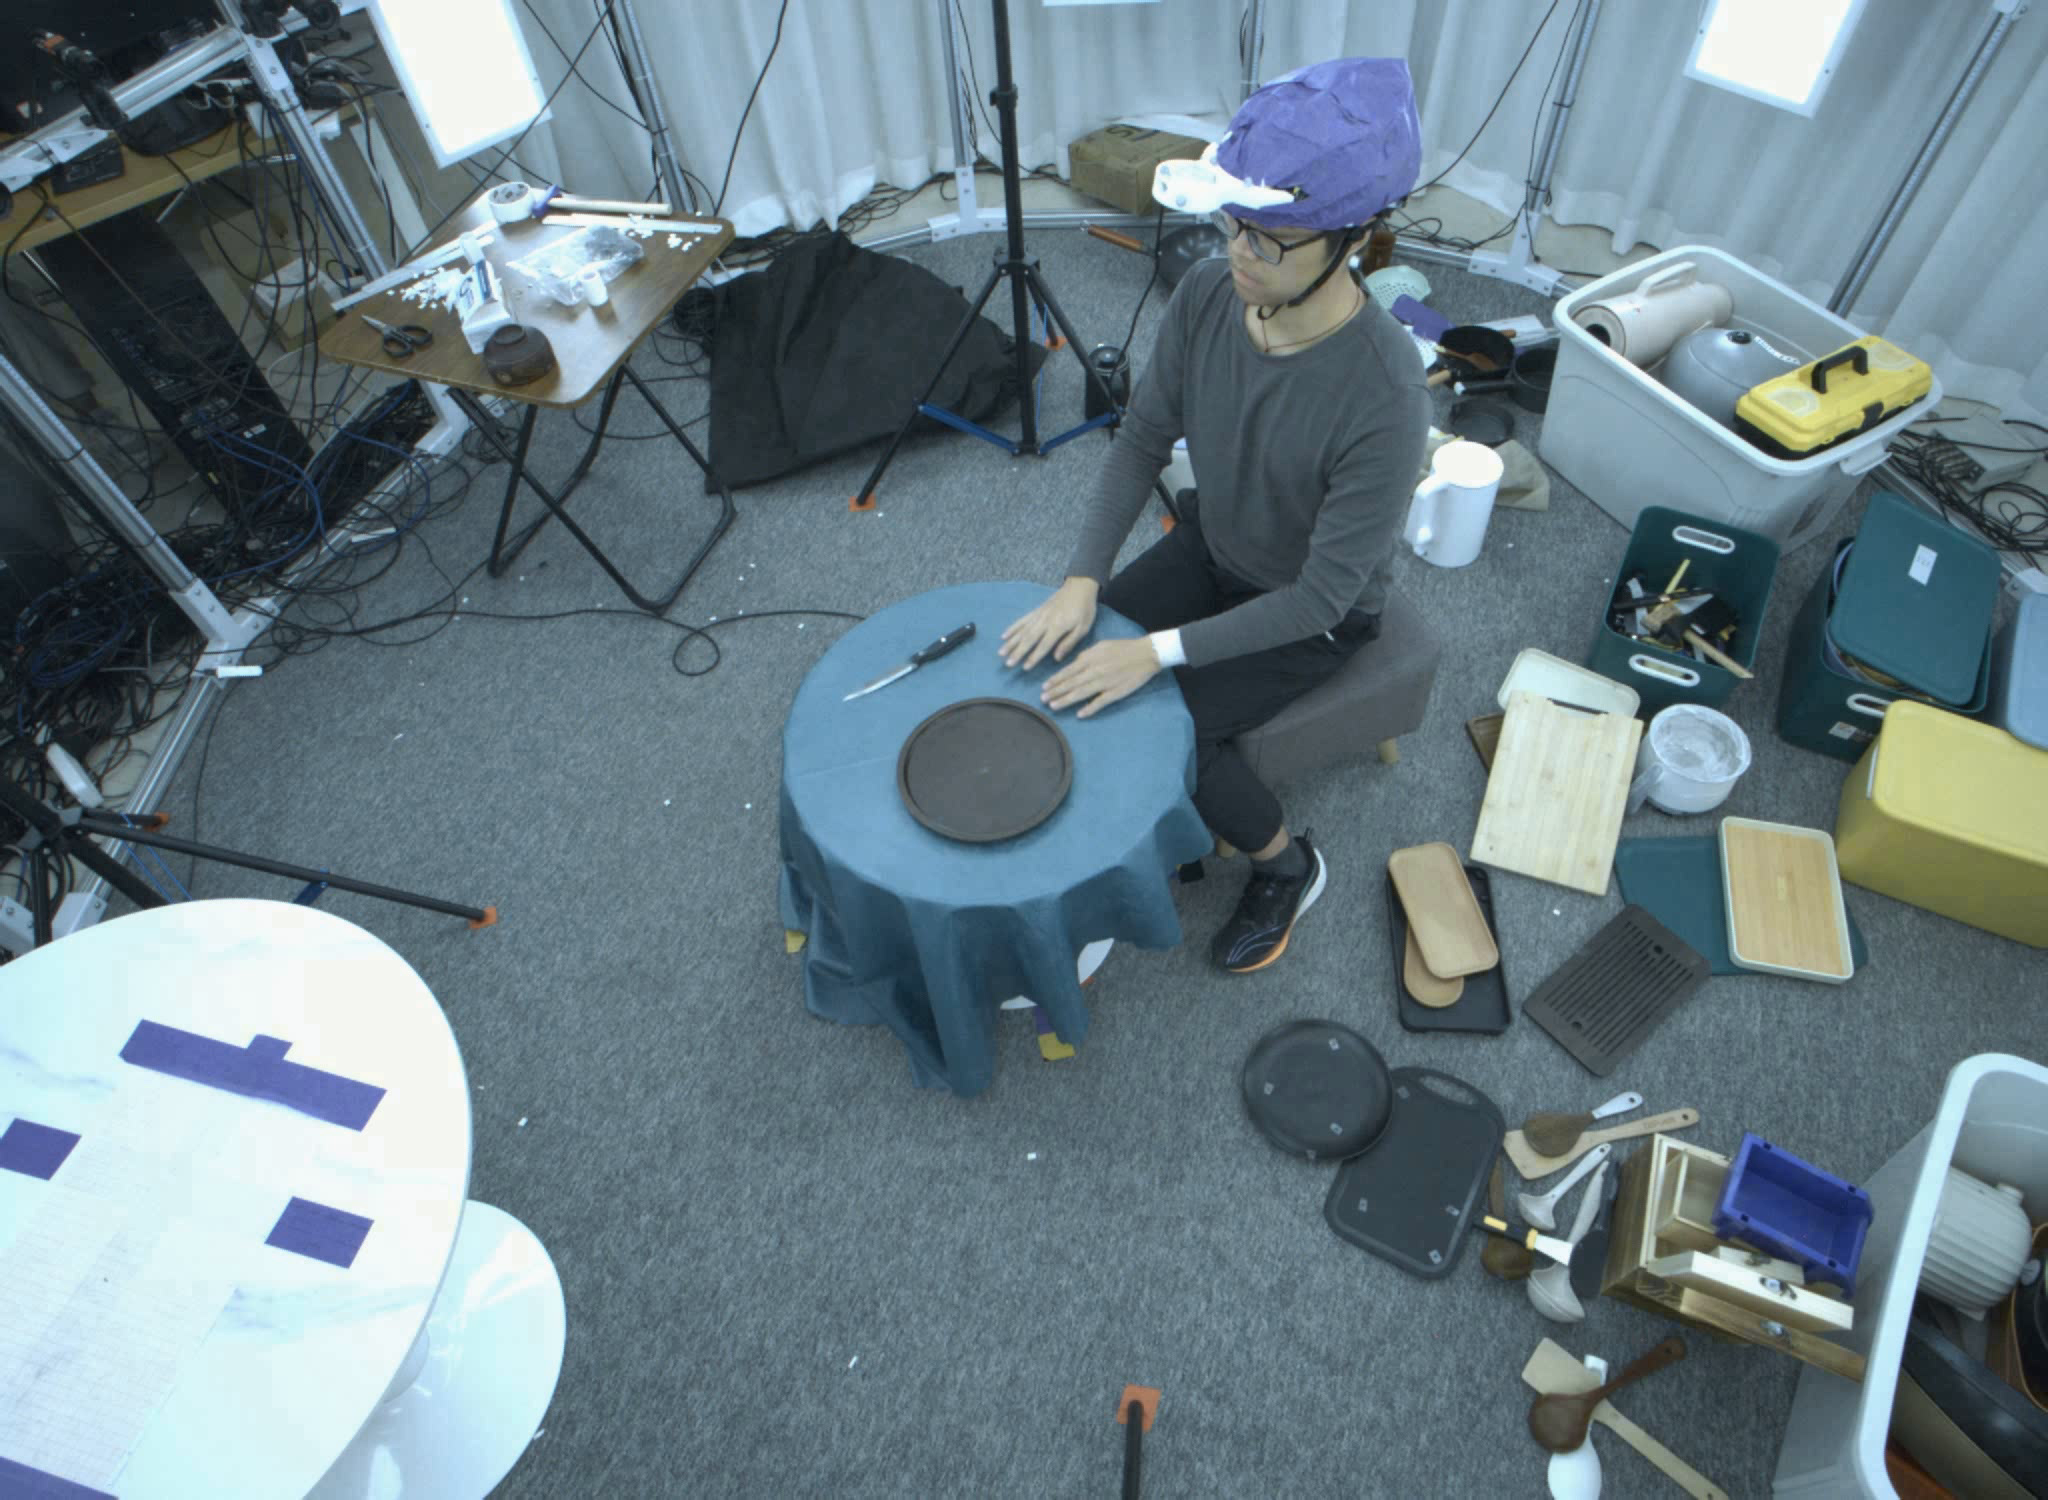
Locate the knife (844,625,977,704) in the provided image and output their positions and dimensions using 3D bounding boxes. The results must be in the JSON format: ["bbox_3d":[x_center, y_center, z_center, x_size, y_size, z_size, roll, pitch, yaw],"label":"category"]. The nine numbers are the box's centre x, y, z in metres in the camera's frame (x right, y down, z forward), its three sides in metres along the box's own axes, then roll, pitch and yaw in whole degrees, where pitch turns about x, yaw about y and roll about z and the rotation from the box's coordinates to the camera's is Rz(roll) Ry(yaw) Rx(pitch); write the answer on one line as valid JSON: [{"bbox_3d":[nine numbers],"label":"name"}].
[{"bbox_3d":[-0.176,-0.132,1.887,0.240,0.016,0.024,-31,59,-16],"label":"knife"}]

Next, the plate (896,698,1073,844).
[{"bbox_3d":[-0.057,0.028,1.762,0.254,0.029,0.252,0,56,1],"label":"plate"}]
